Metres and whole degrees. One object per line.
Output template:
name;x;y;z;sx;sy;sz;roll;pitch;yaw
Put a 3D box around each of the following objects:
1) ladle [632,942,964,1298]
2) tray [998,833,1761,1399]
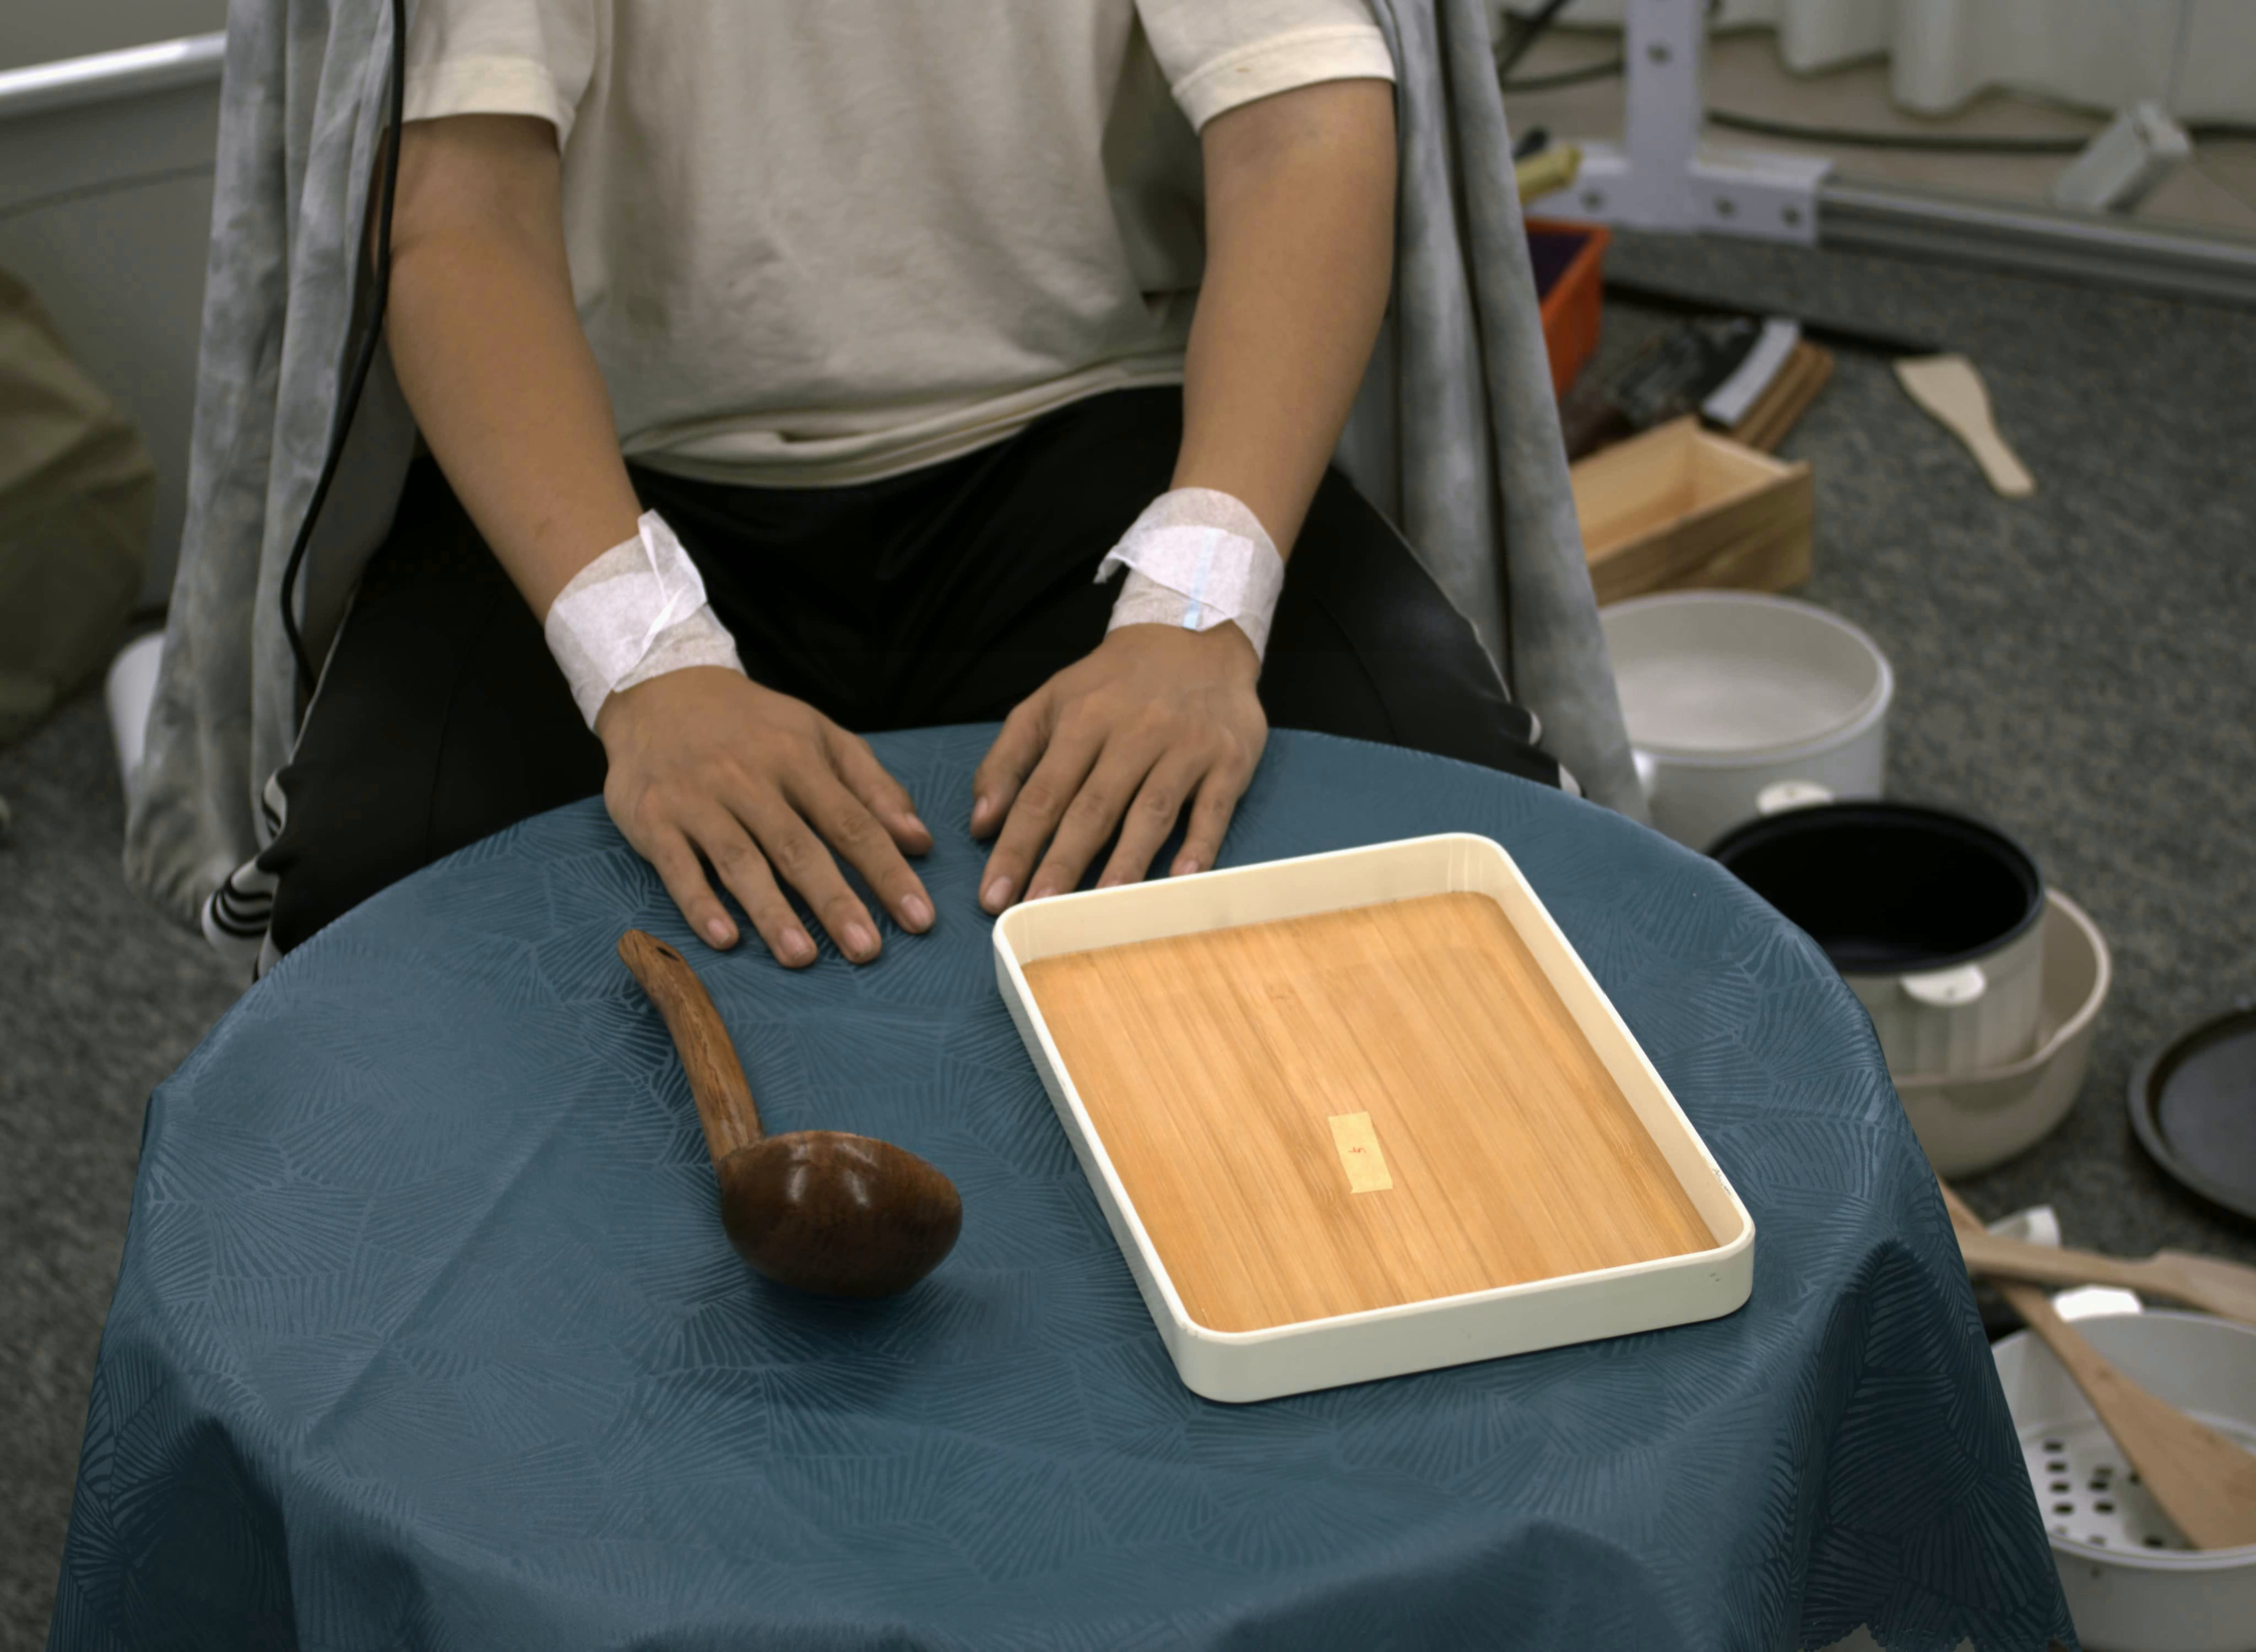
ladle;-0.120;0.078;1.880;0.081;0.076;0.277;29;15;-25
tray;0.077;0.091;1.881;0.191;0.027;0.303;-9;28;-11
